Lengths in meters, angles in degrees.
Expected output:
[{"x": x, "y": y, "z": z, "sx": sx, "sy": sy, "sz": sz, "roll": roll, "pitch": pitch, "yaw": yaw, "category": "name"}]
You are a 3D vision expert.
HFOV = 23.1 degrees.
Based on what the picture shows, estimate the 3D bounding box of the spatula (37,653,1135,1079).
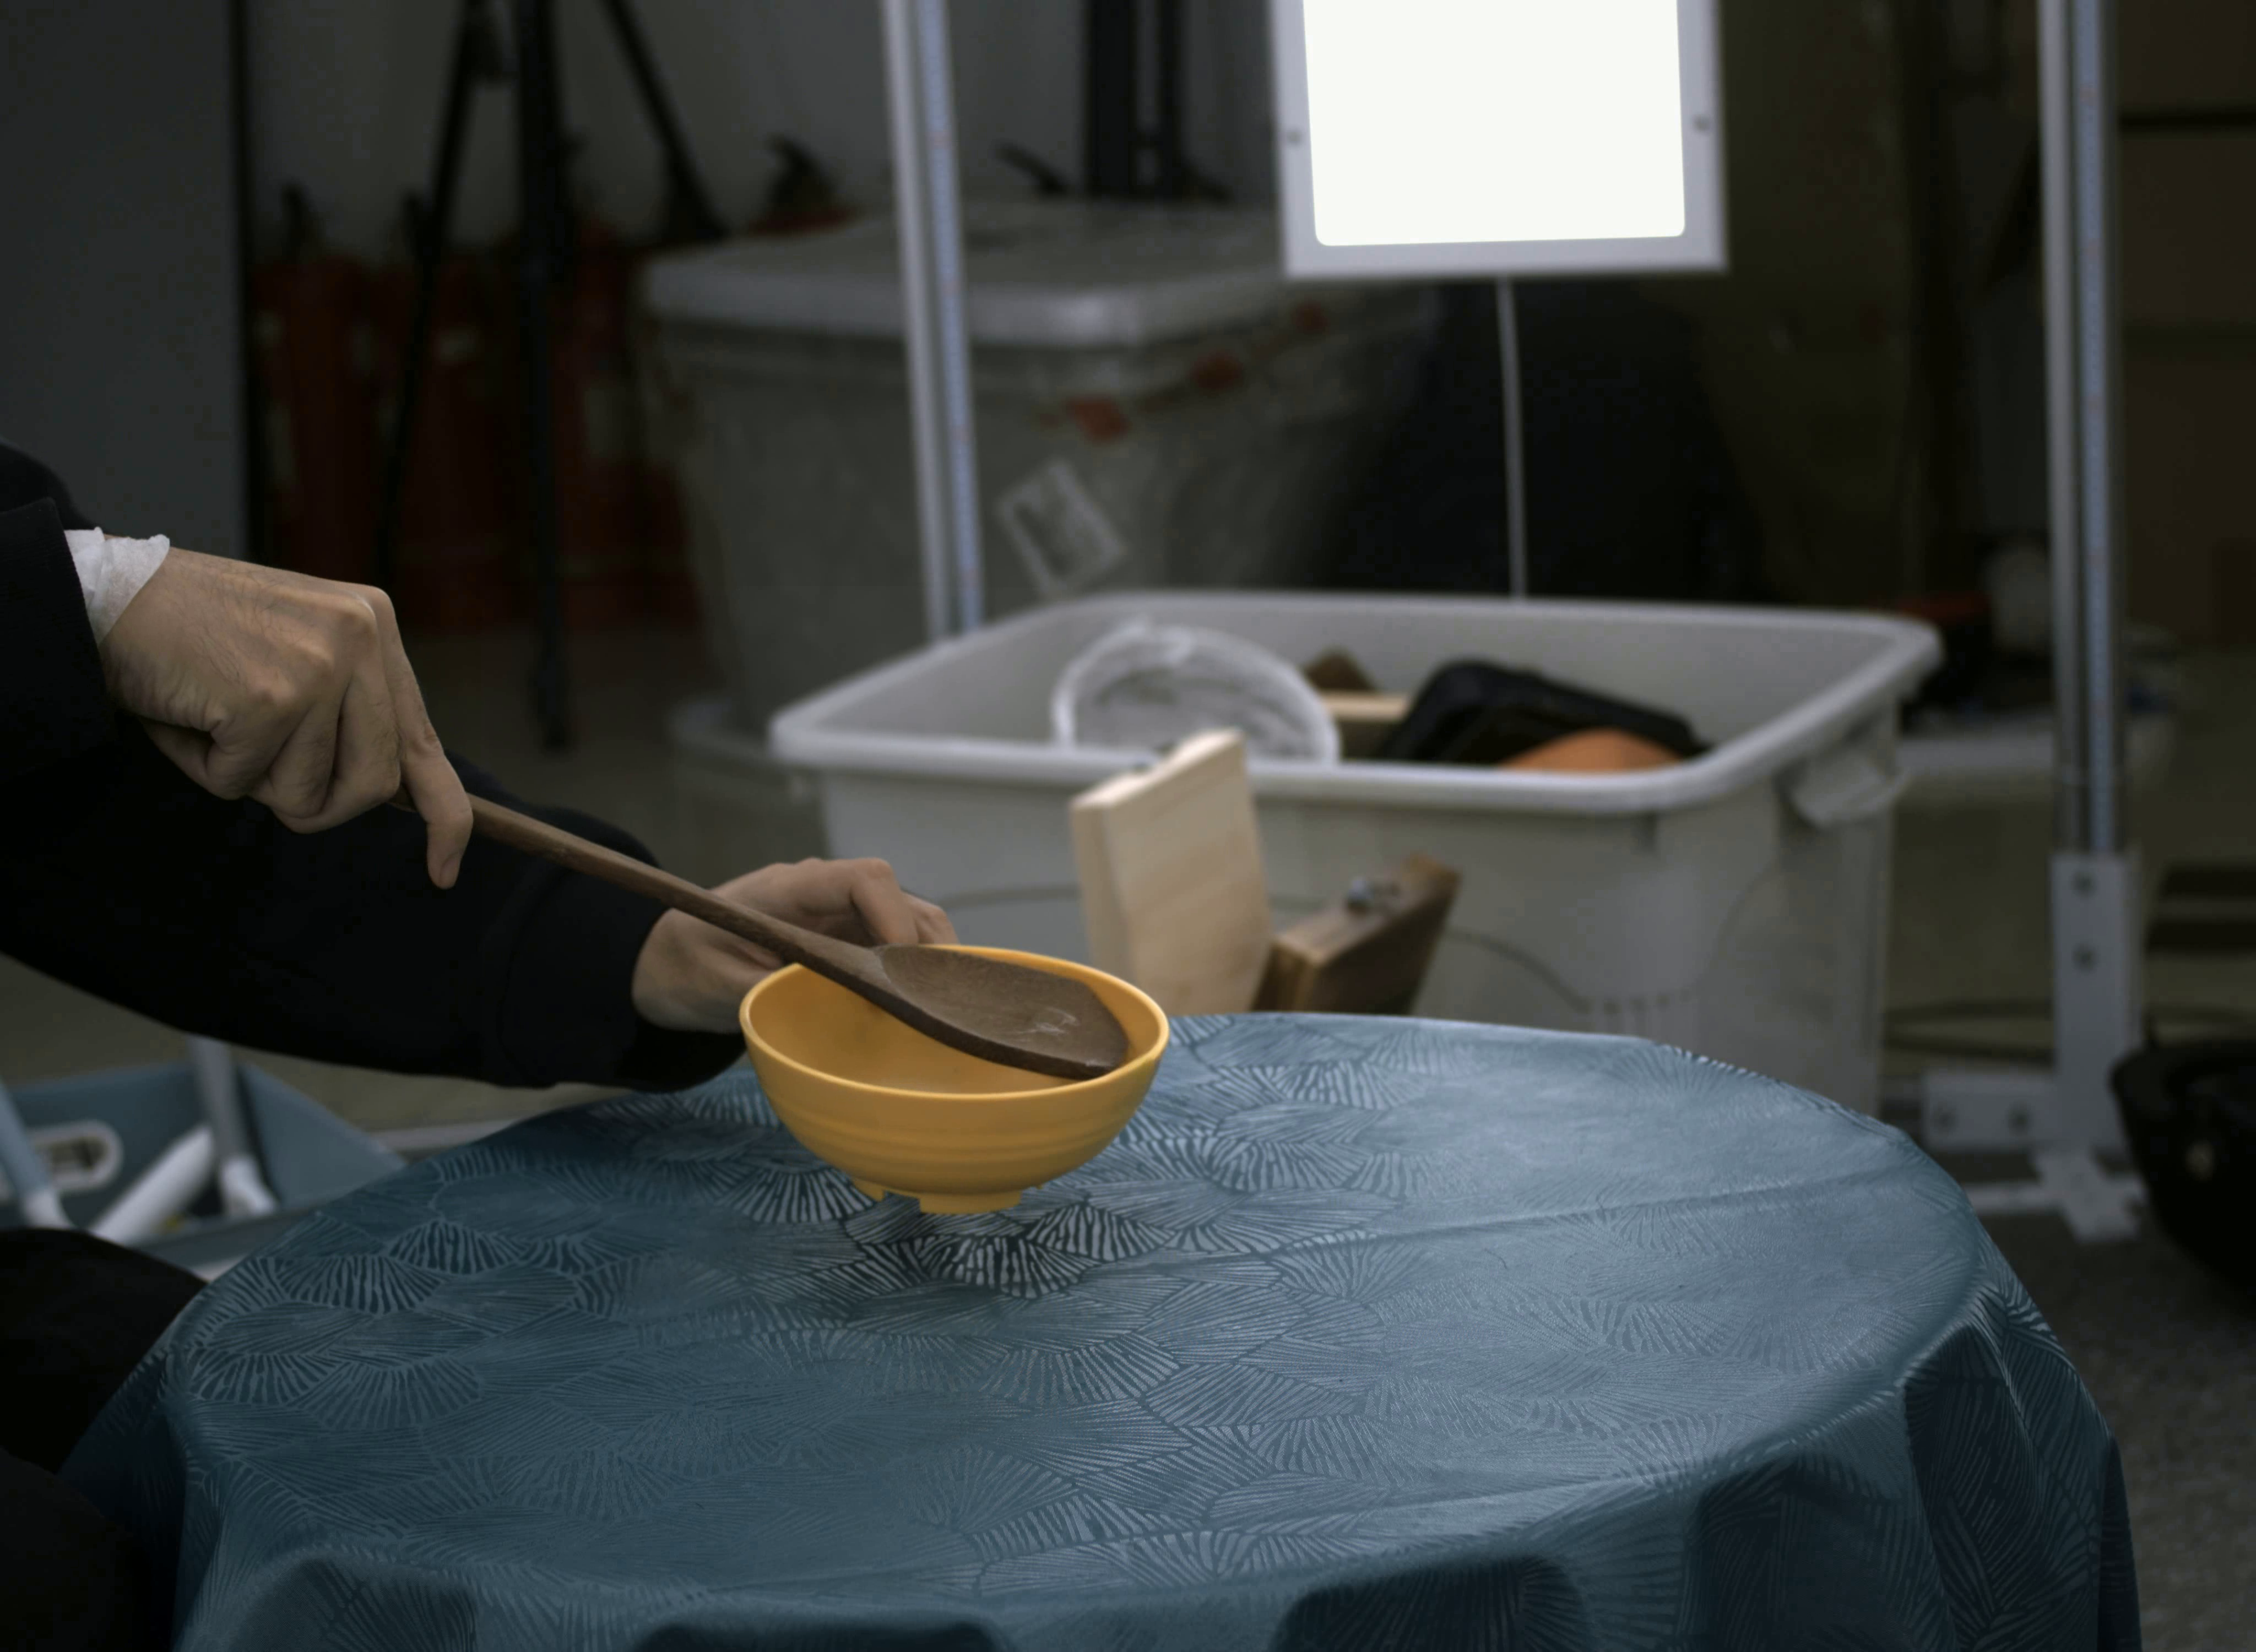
[{"x": -0.173, "y": 0.011, "z": 1.809, "sx": 0.381, "sy": 0.016, "sz": 0.096, "roll": 21, "pitch": 14, "yaw": -14, "category": "spatula"}]

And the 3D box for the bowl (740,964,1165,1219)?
[{"x": -0.060, "y": 0.094, "z": 1.852, "sx": 0.145, "sy": 0.060, "sz": 0.145, "roll": 2, "pitch": 16, "yaw": -2, "category": "bowl"}]
